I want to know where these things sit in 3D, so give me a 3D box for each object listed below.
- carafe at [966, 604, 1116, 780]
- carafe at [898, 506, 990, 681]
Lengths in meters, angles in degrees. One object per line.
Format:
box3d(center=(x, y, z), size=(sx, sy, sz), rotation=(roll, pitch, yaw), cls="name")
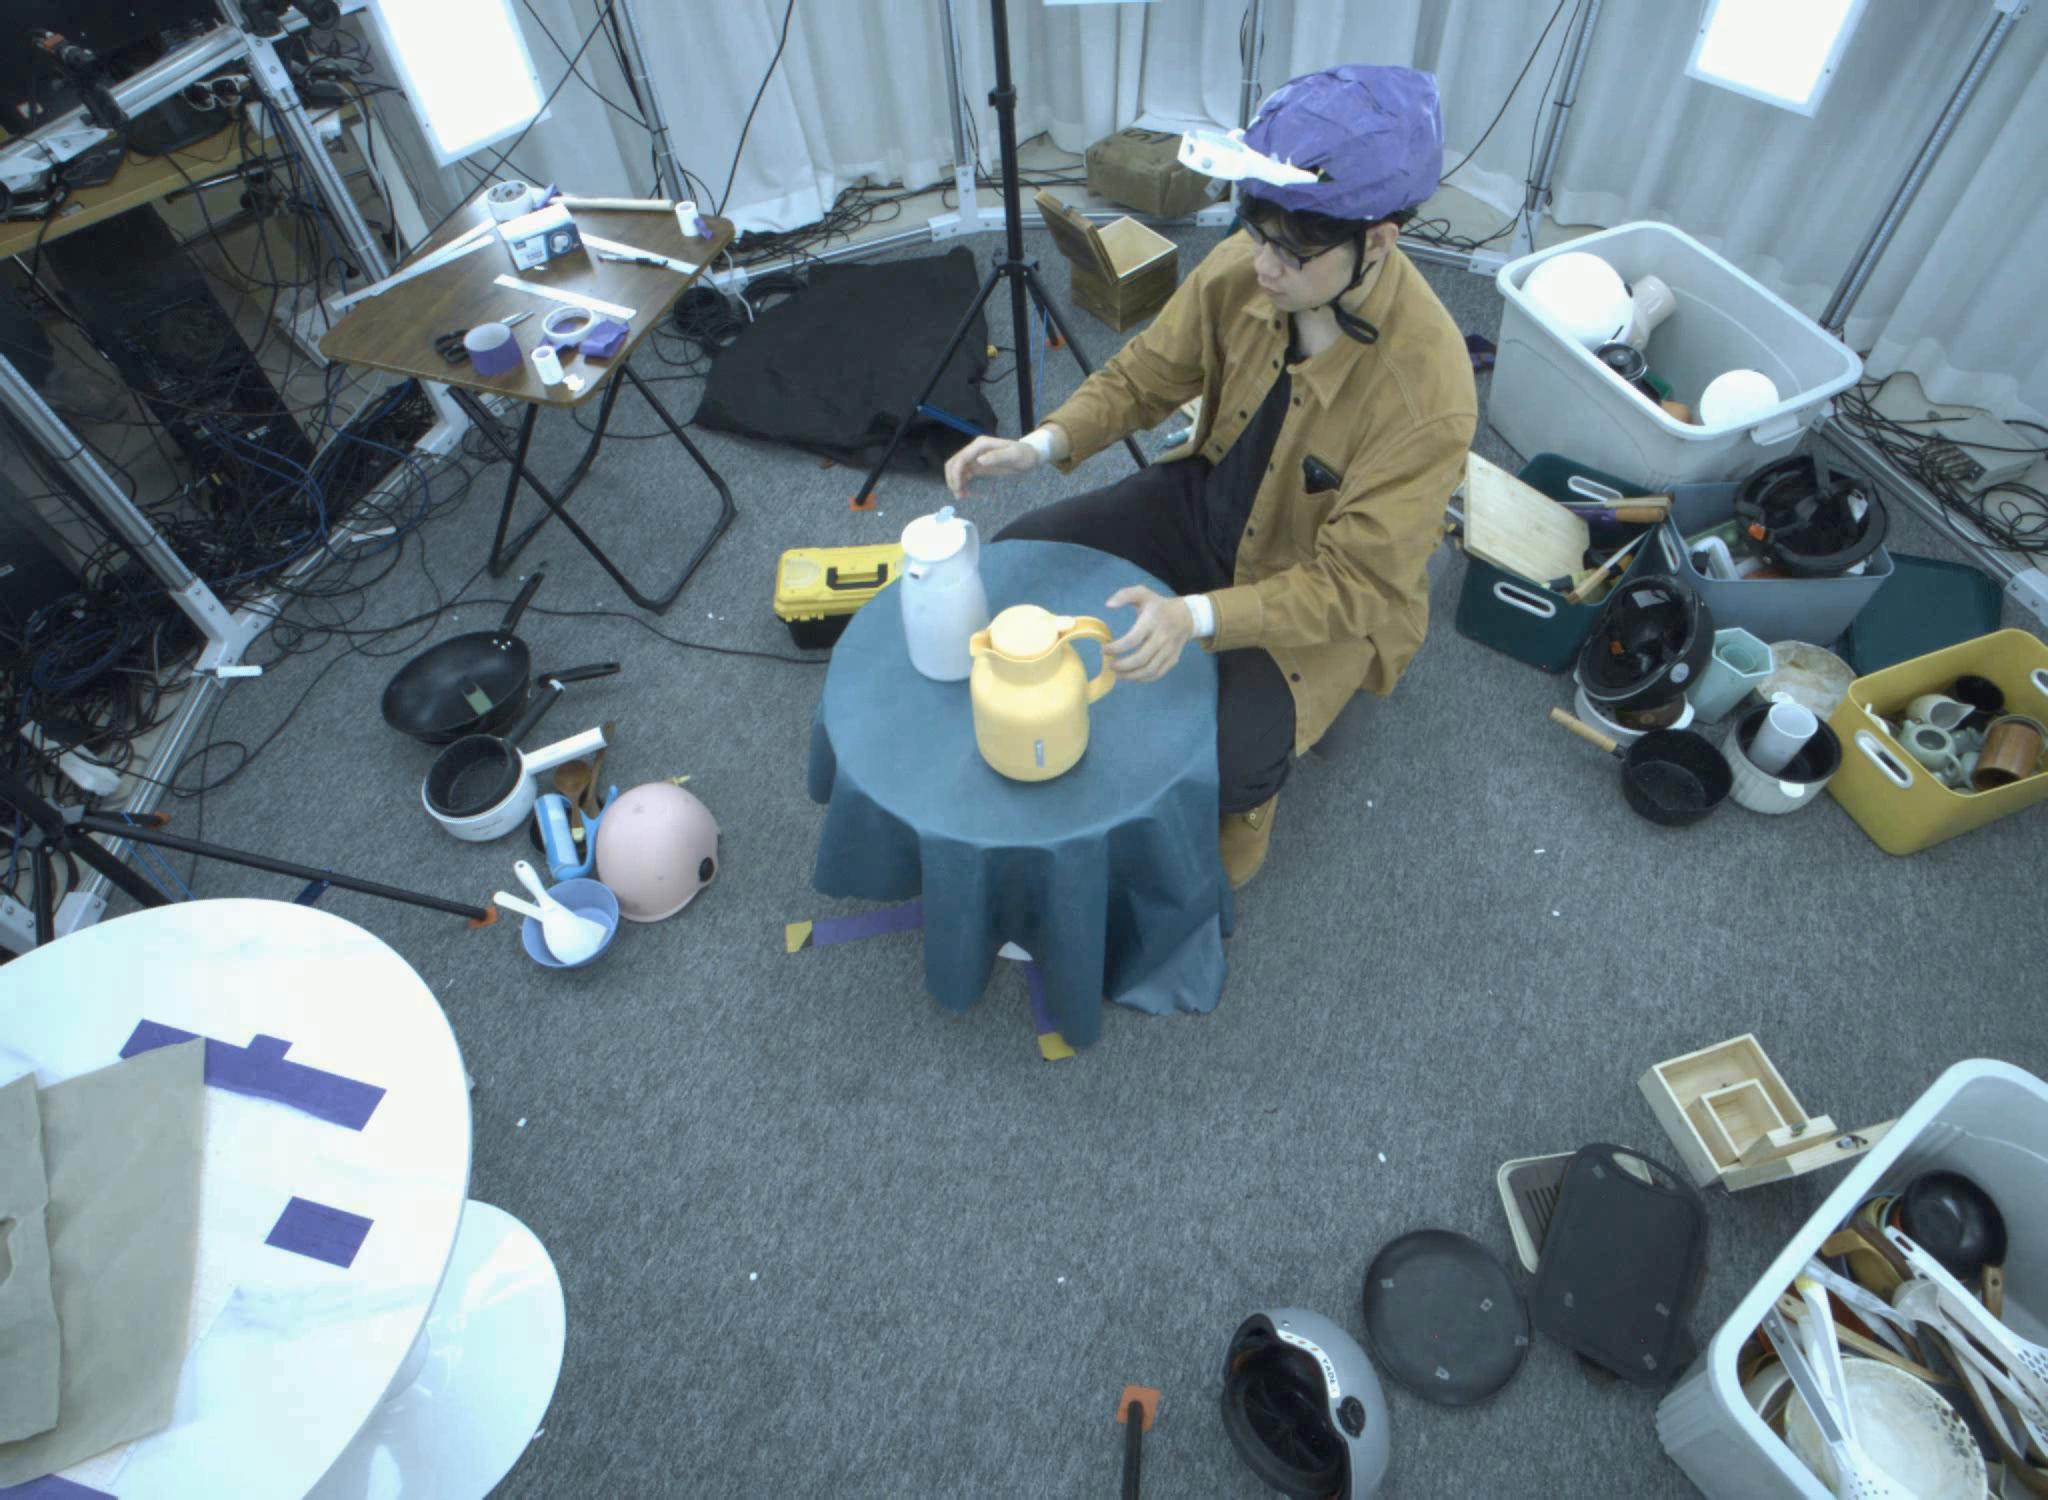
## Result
box3d(center=(0.025, -0.087, 1.683), size=(0.203, 0.263, 0.161), rotation=(-10, 56, -2), cls="carafe")
box3d(center=(-0.115, -0.243, 1.806), size=(0.131, 0.251, 0.168), rotation=(19, 57, 17), cls="carafe")
